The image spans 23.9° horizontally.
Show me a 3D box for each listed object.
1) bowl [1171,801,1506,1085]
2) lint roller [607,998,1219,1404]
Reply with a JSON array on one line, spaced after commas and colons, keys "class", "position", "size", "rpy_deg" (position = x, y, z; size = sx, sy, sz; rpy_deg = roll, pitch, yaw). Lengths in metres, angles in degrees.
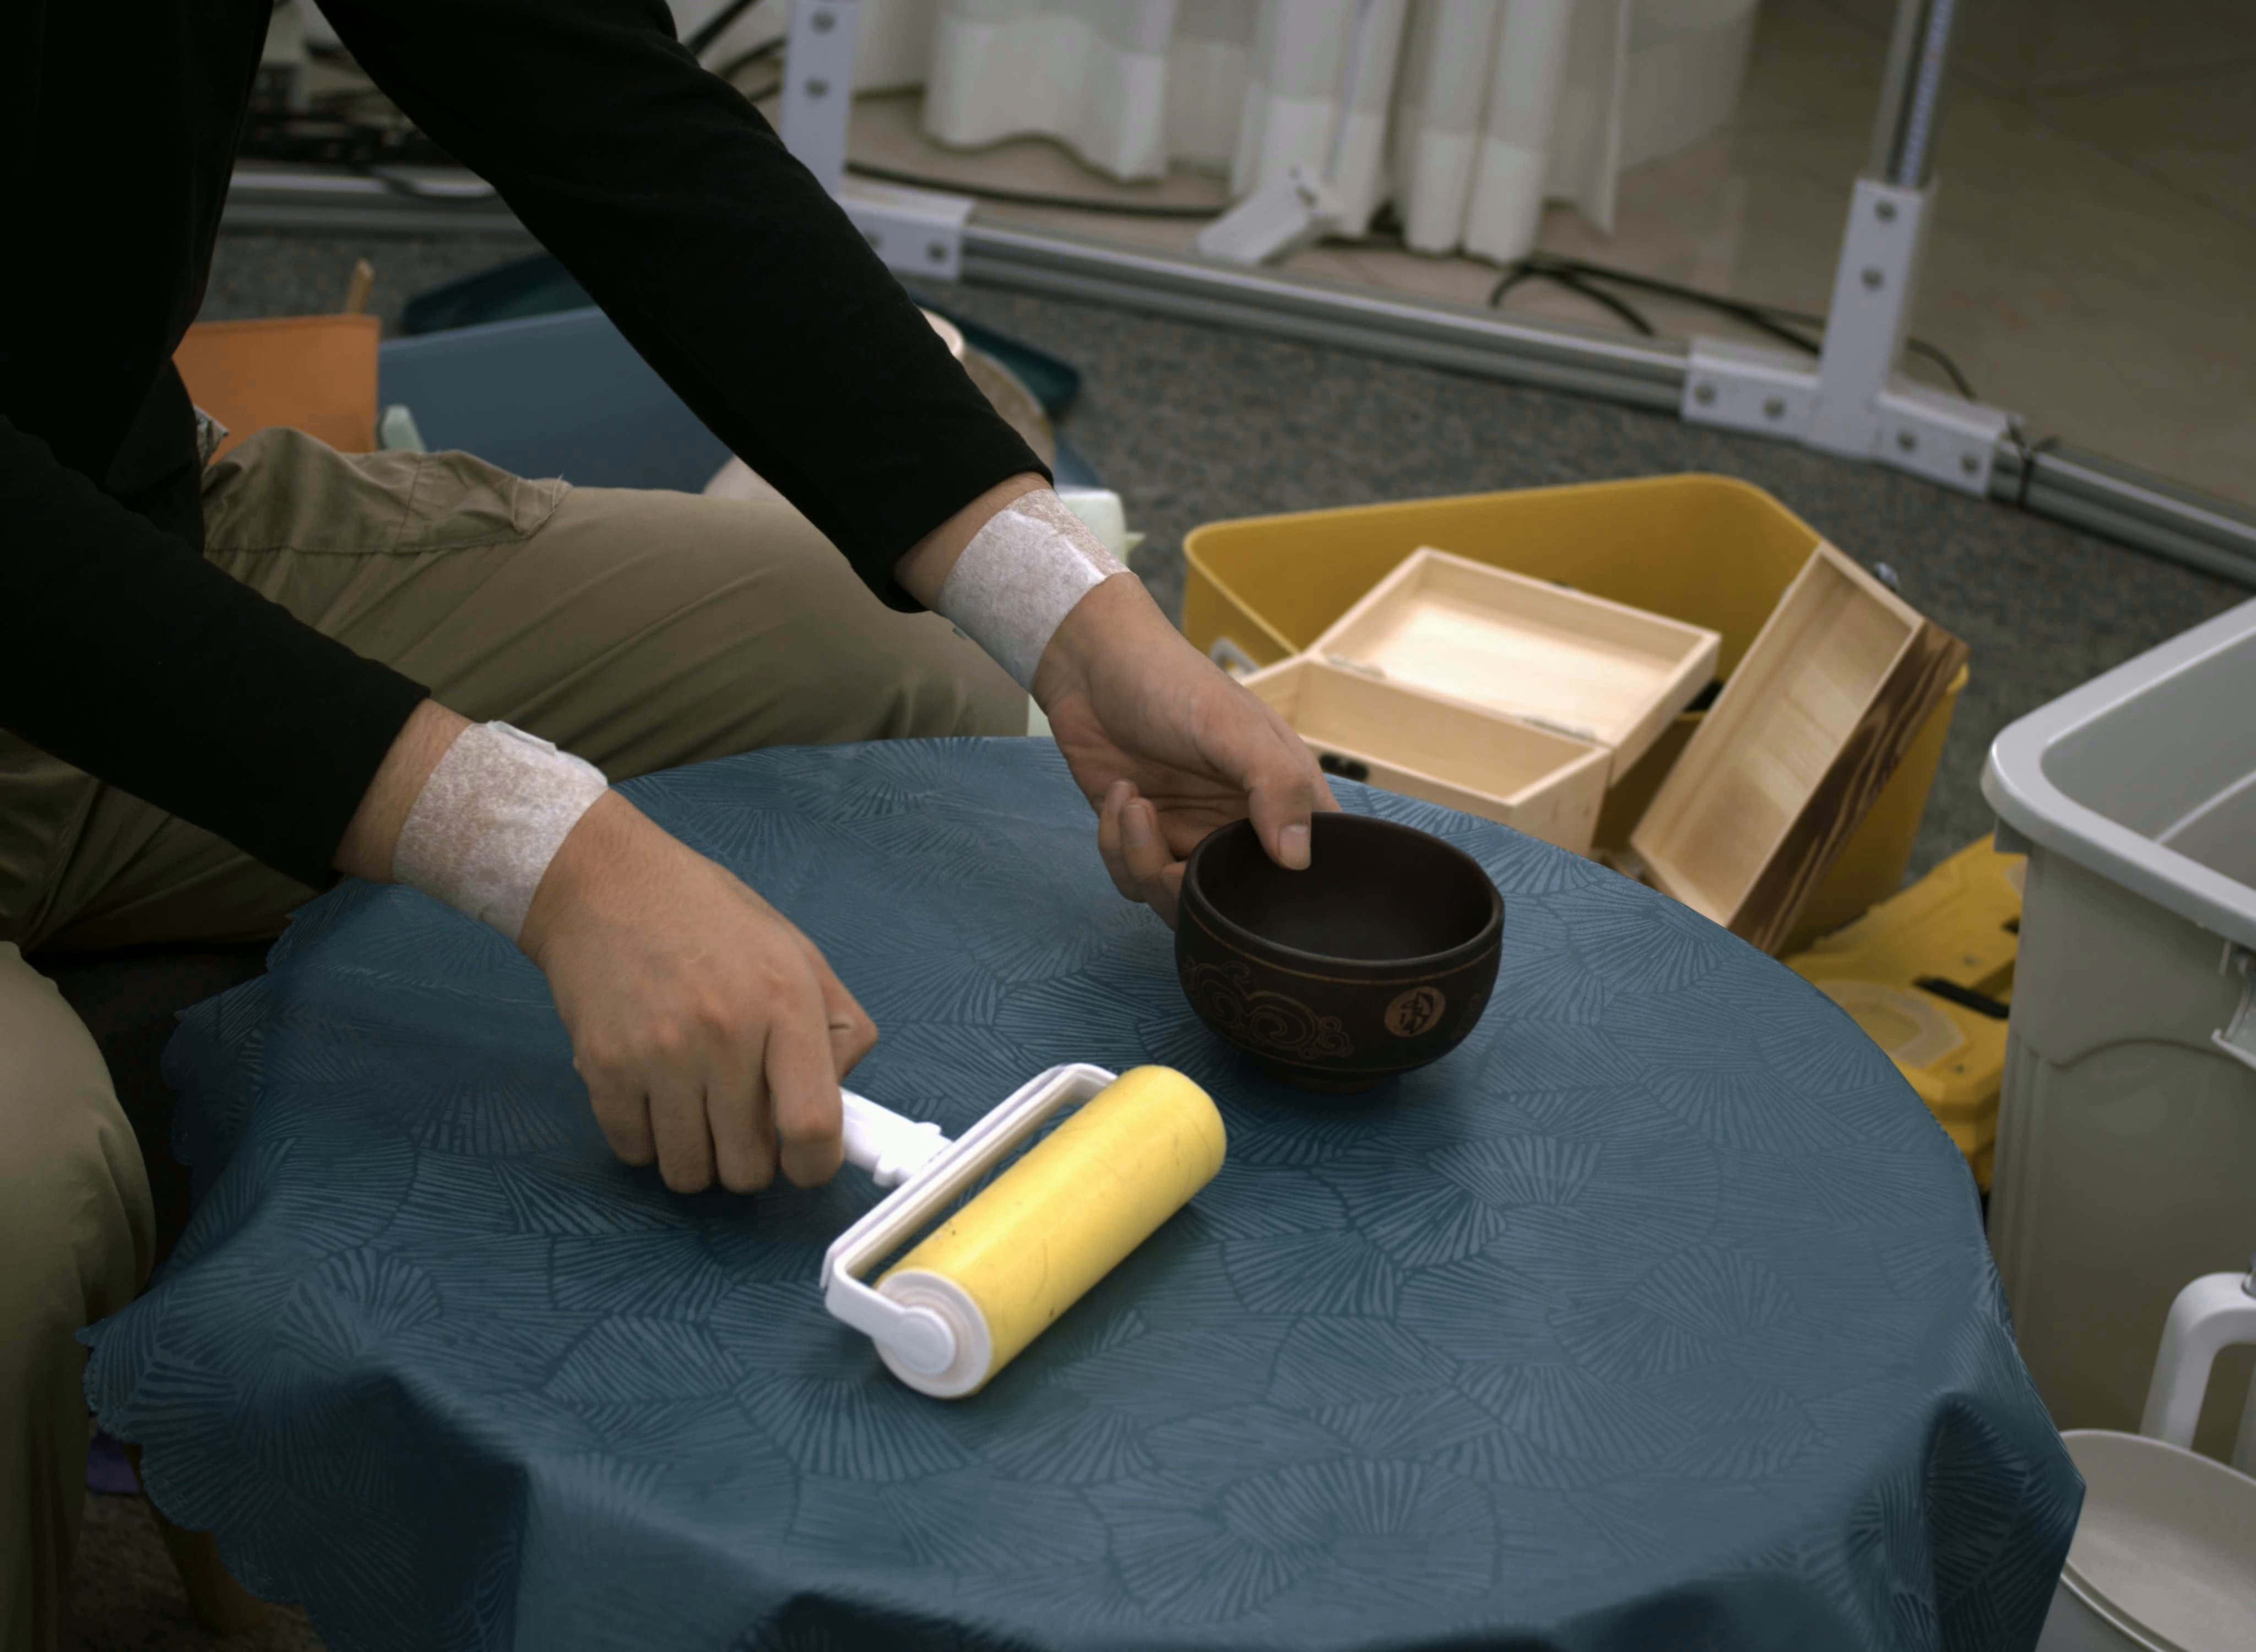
[{"class": "bowl", "position": [0.072, 0.048, 1.884], "size": [0.117, 0.069, 0.119], "rpy_deg": [6, 27, -4]}, {"class": "lint roller", "position": [-0.086, 0.097, 1.748], "size": [0.192, 0.051, 0.174], "rpy_deg": [32, 33, 13]}]
